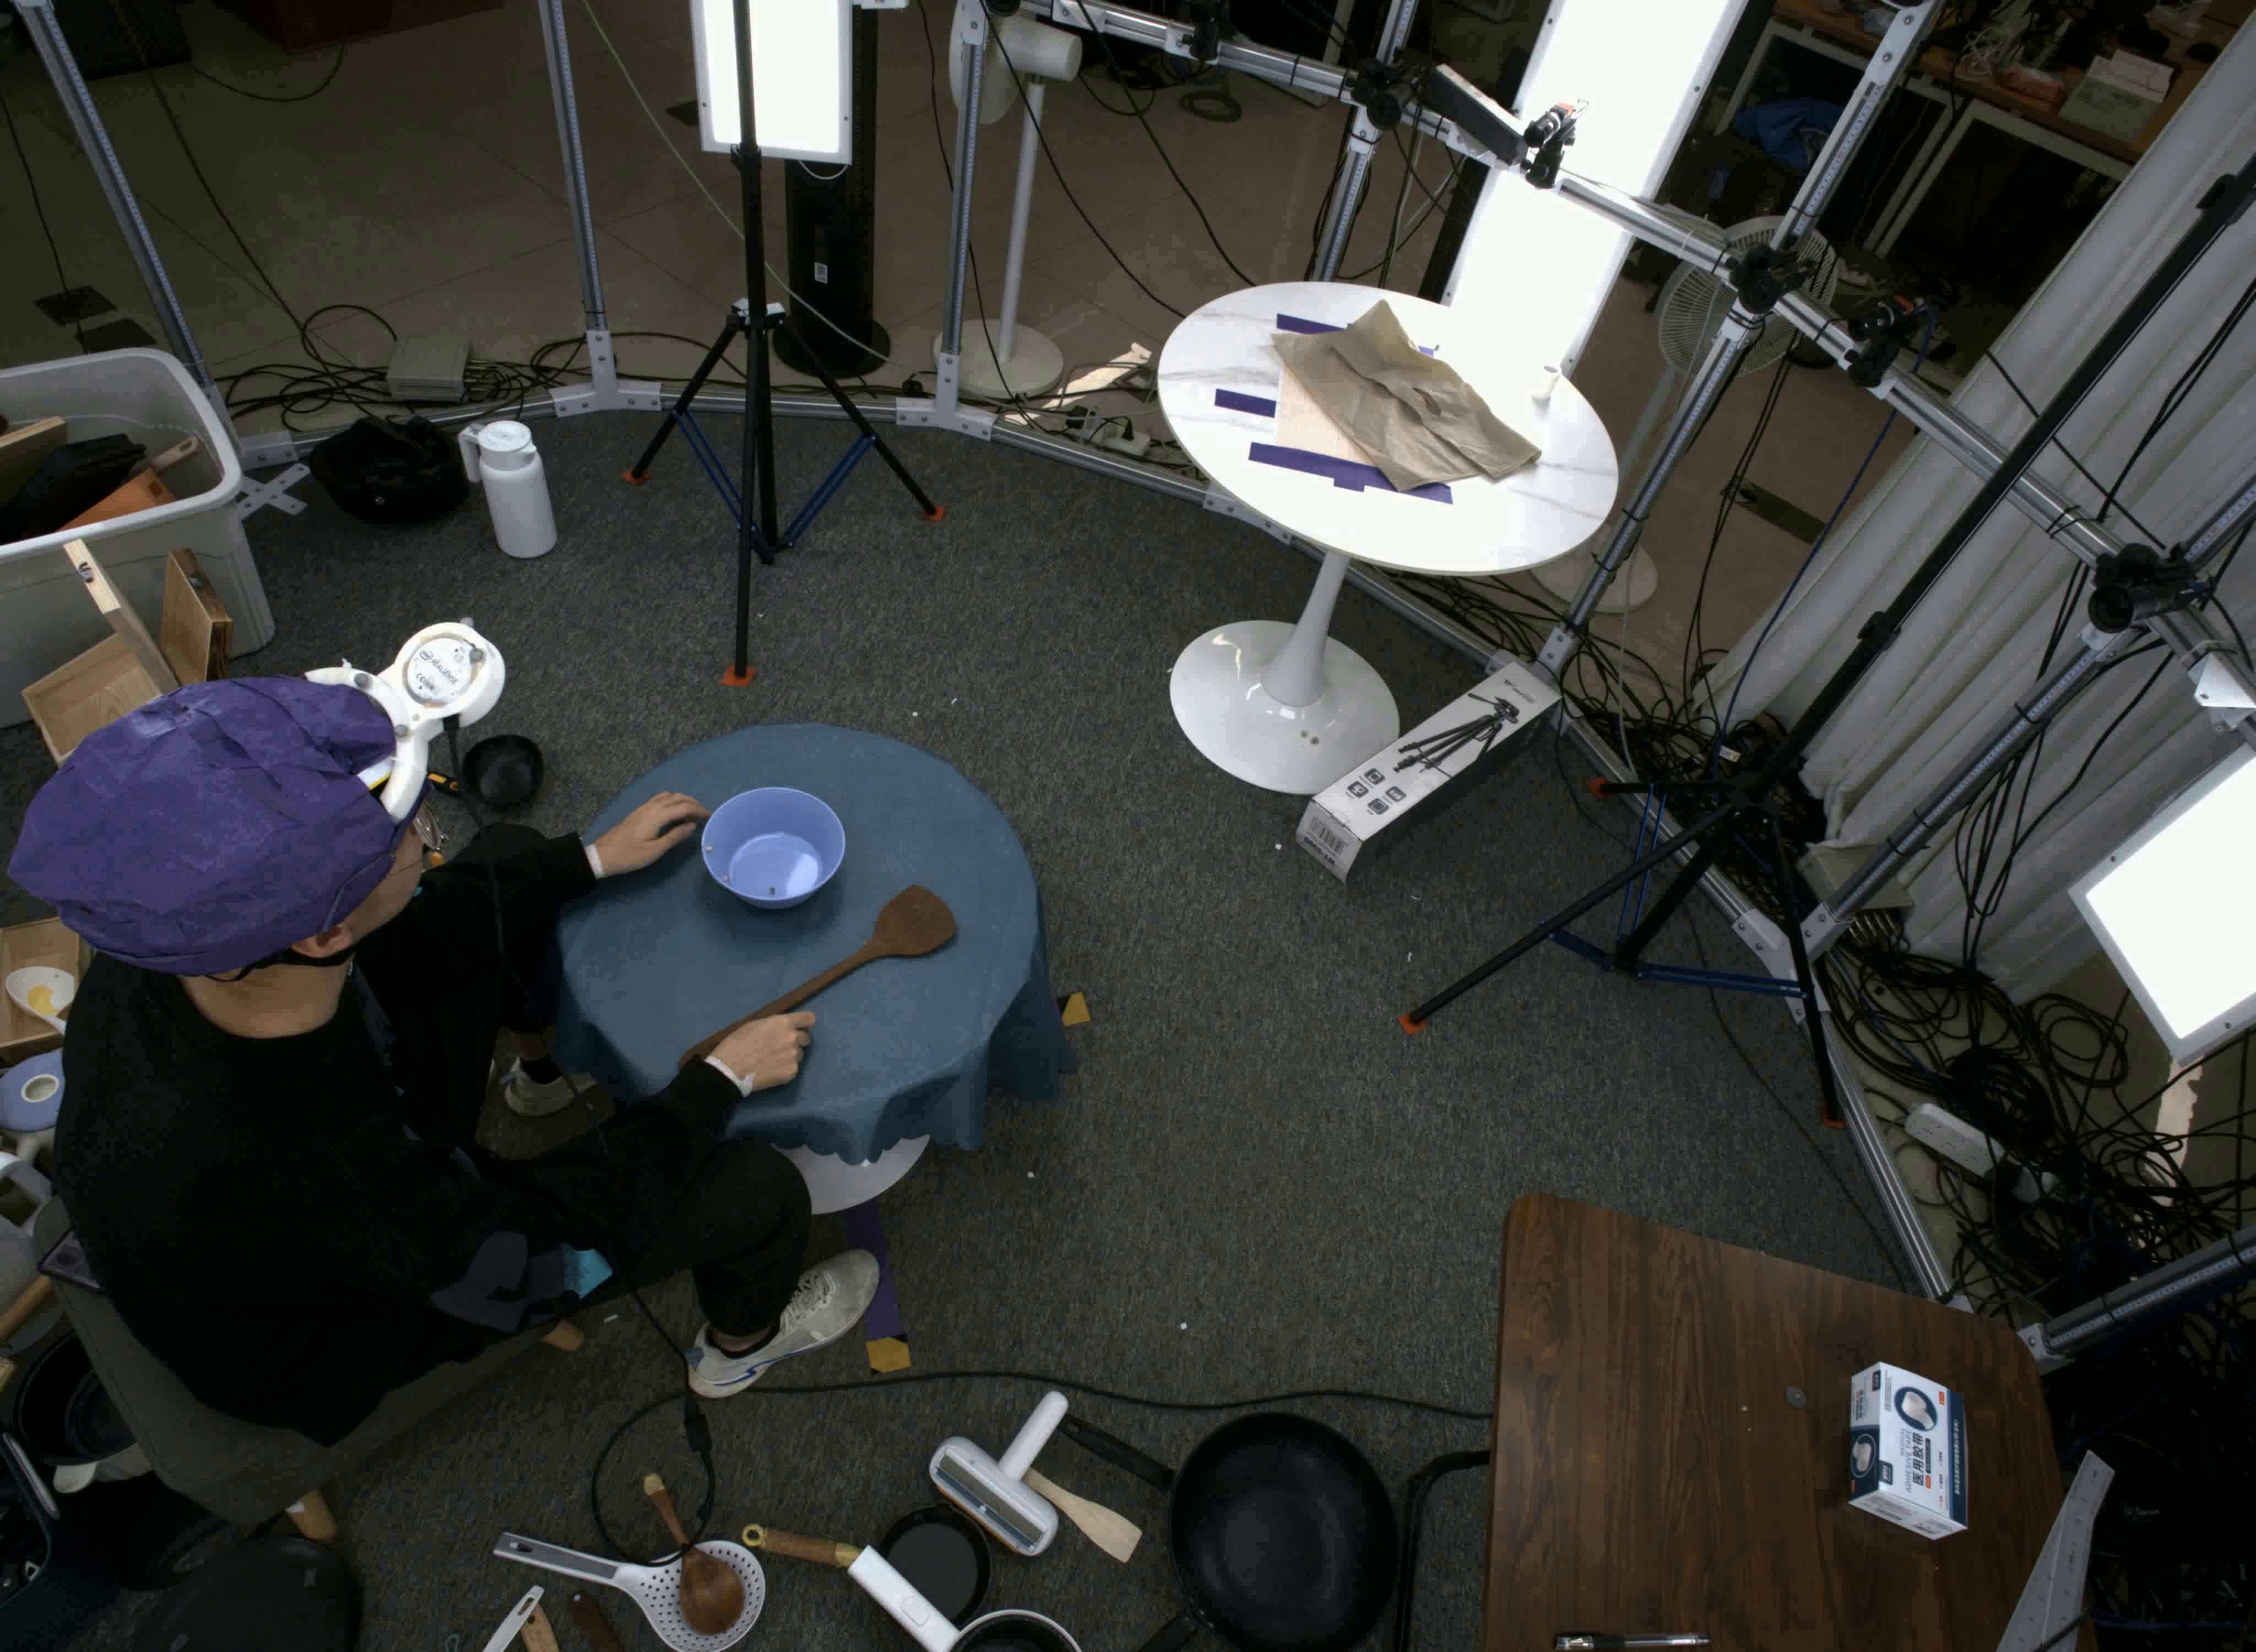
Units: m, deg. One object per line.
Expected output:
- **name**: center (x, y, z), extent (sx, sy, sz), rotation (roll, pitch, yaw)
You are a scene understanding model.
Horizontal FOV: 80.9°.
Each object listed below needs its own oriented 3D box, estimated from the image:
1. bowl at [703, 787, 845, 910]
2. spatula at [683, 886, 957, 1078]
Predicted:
- **bowl**: center (-0.448, 0.038, 1.650), extent (0.175, 0.072, 0.173), rotation (7, 53, -7)
- **spatula**: center (-0.377, 0.191, 1.590), extent (0.387, 0.016, 0.094), rotation (-33, 67, -32)
